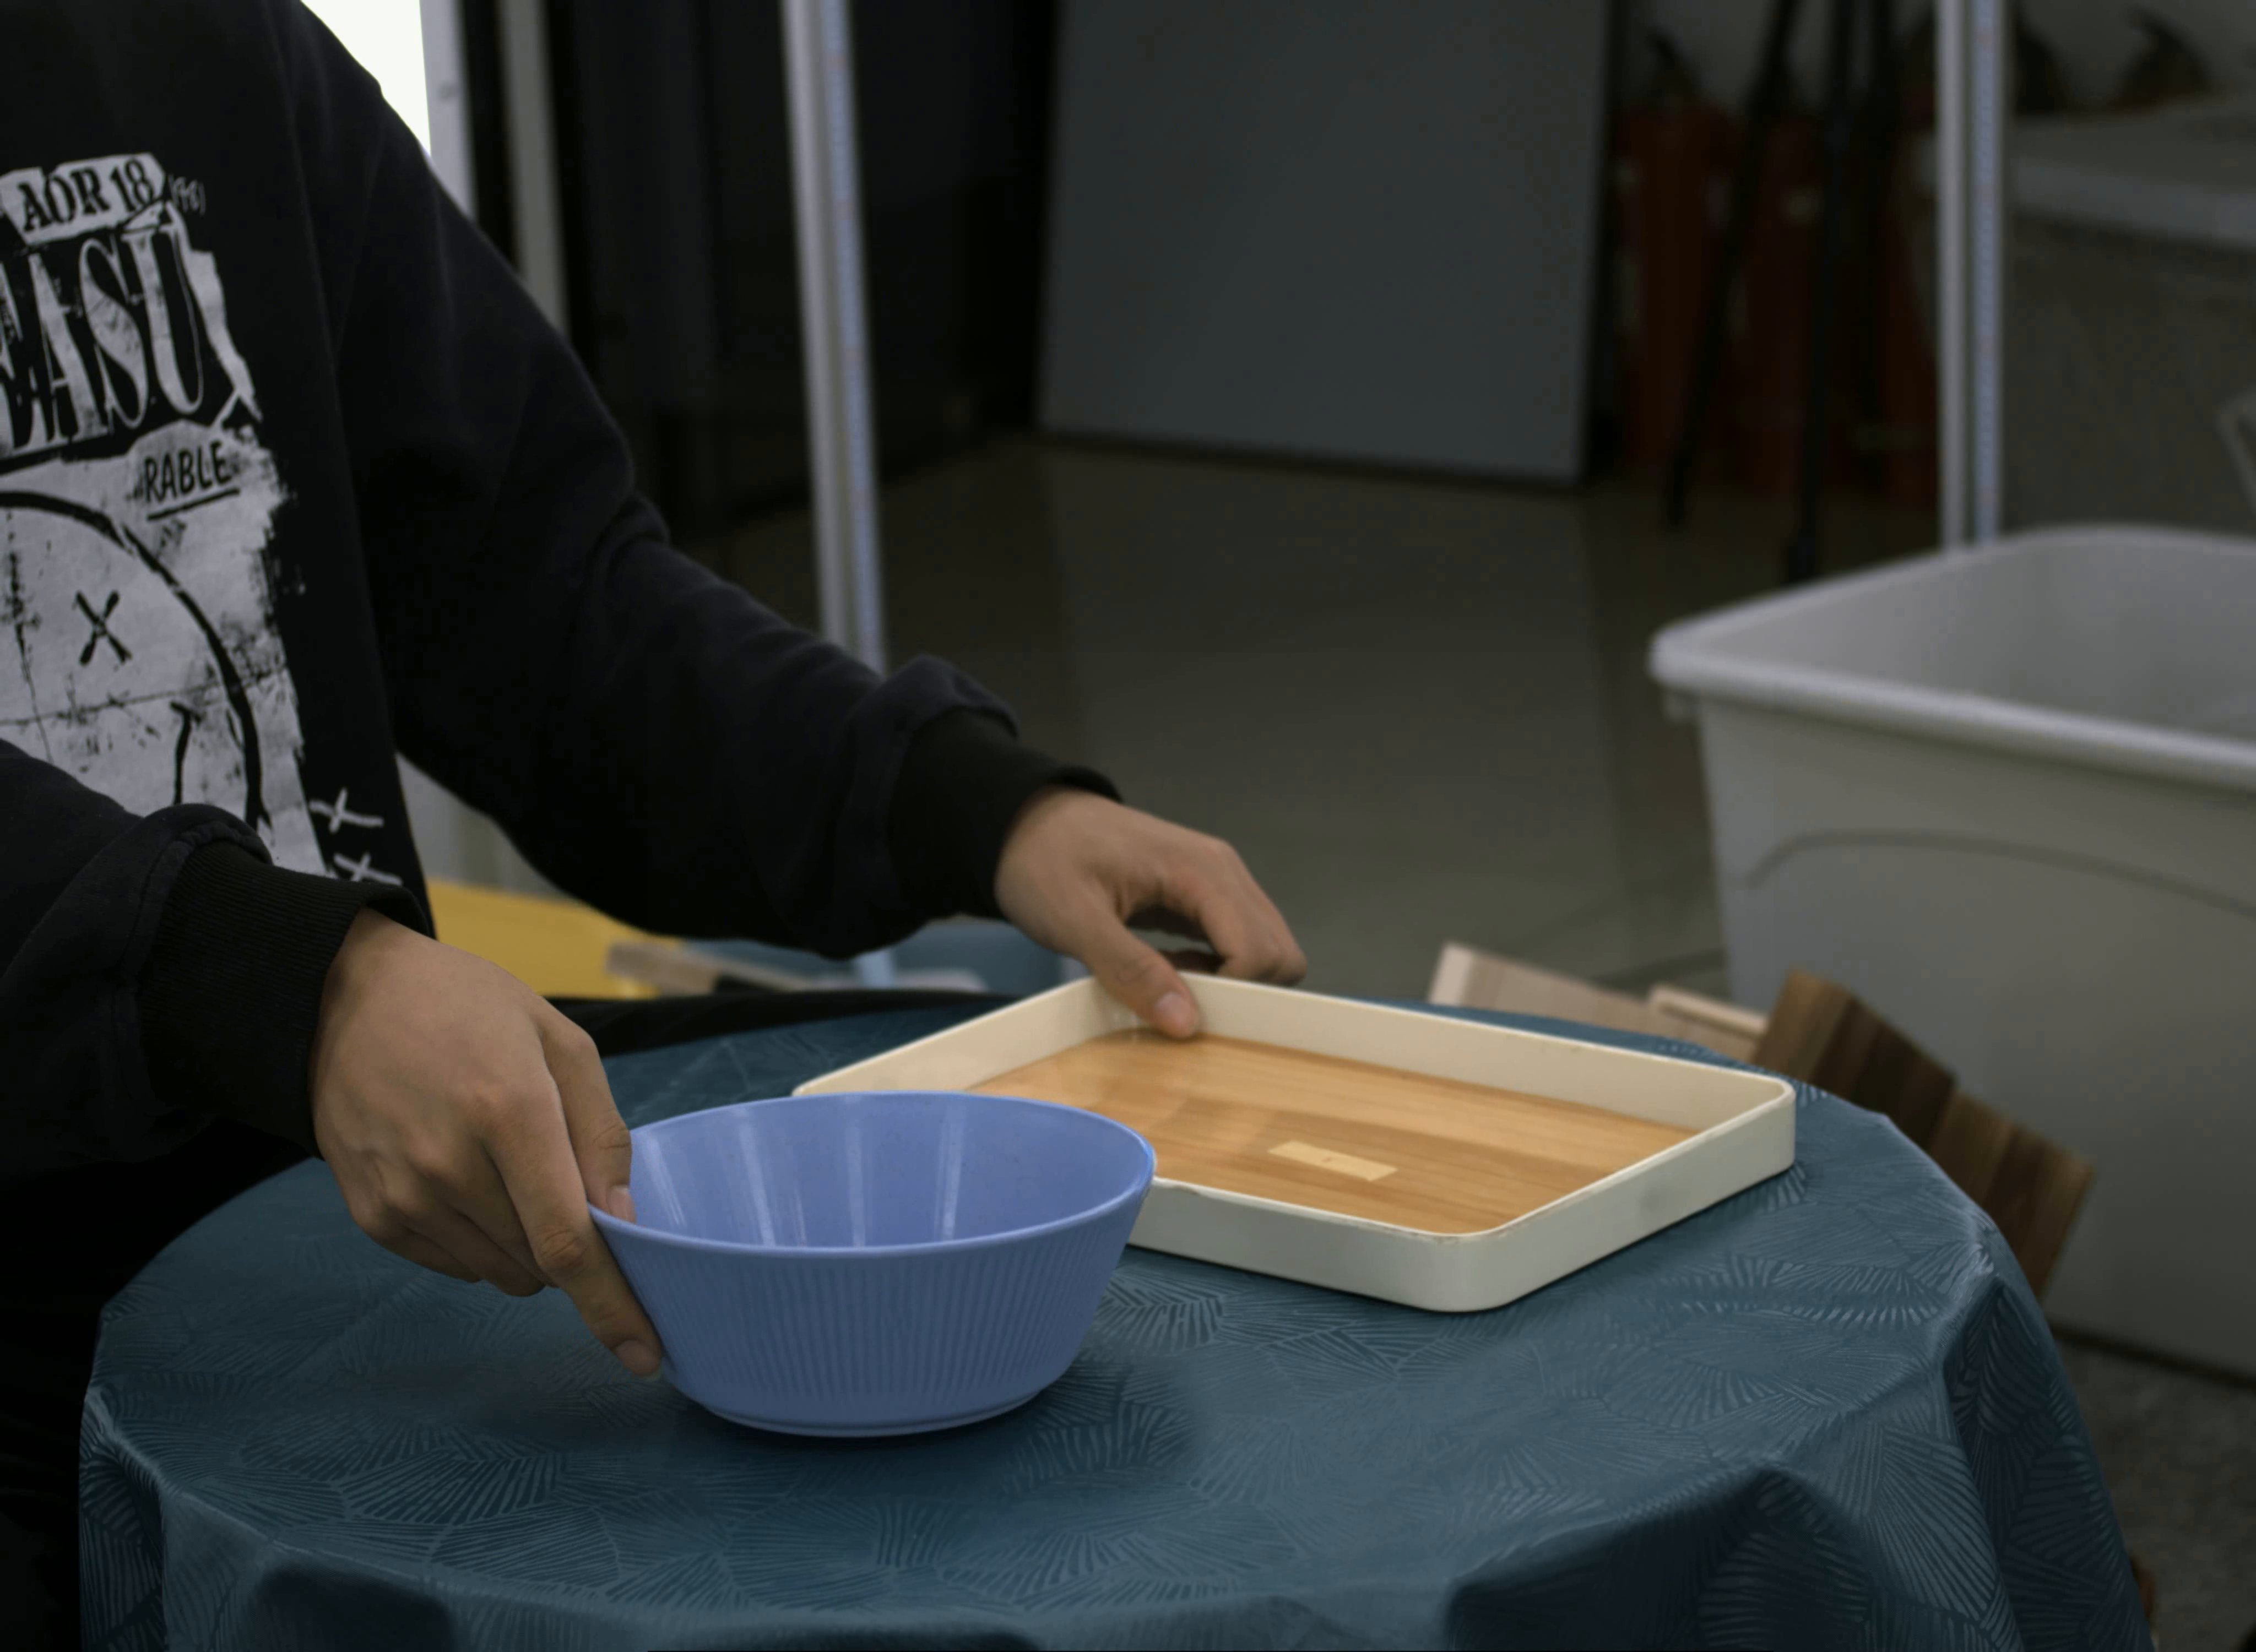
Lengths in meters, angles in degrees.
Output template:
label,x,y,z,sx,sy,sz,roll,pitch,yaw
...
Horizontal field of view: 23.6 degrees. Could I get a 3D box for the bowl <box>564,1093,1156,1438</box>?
label,x,y,z,sx,sy,sz,roll,pitch,yaw
bowl,-0.078,0.131,1.594,0.174,0.071,0.176,-1,12,-1

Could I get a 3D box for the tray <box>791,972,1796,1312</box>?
label,x,y,z,sx,sy,sz,roll,pitch,yaw
tray,0.053,0.101,1.783,0.303,0.028,0.188,8,19,41
